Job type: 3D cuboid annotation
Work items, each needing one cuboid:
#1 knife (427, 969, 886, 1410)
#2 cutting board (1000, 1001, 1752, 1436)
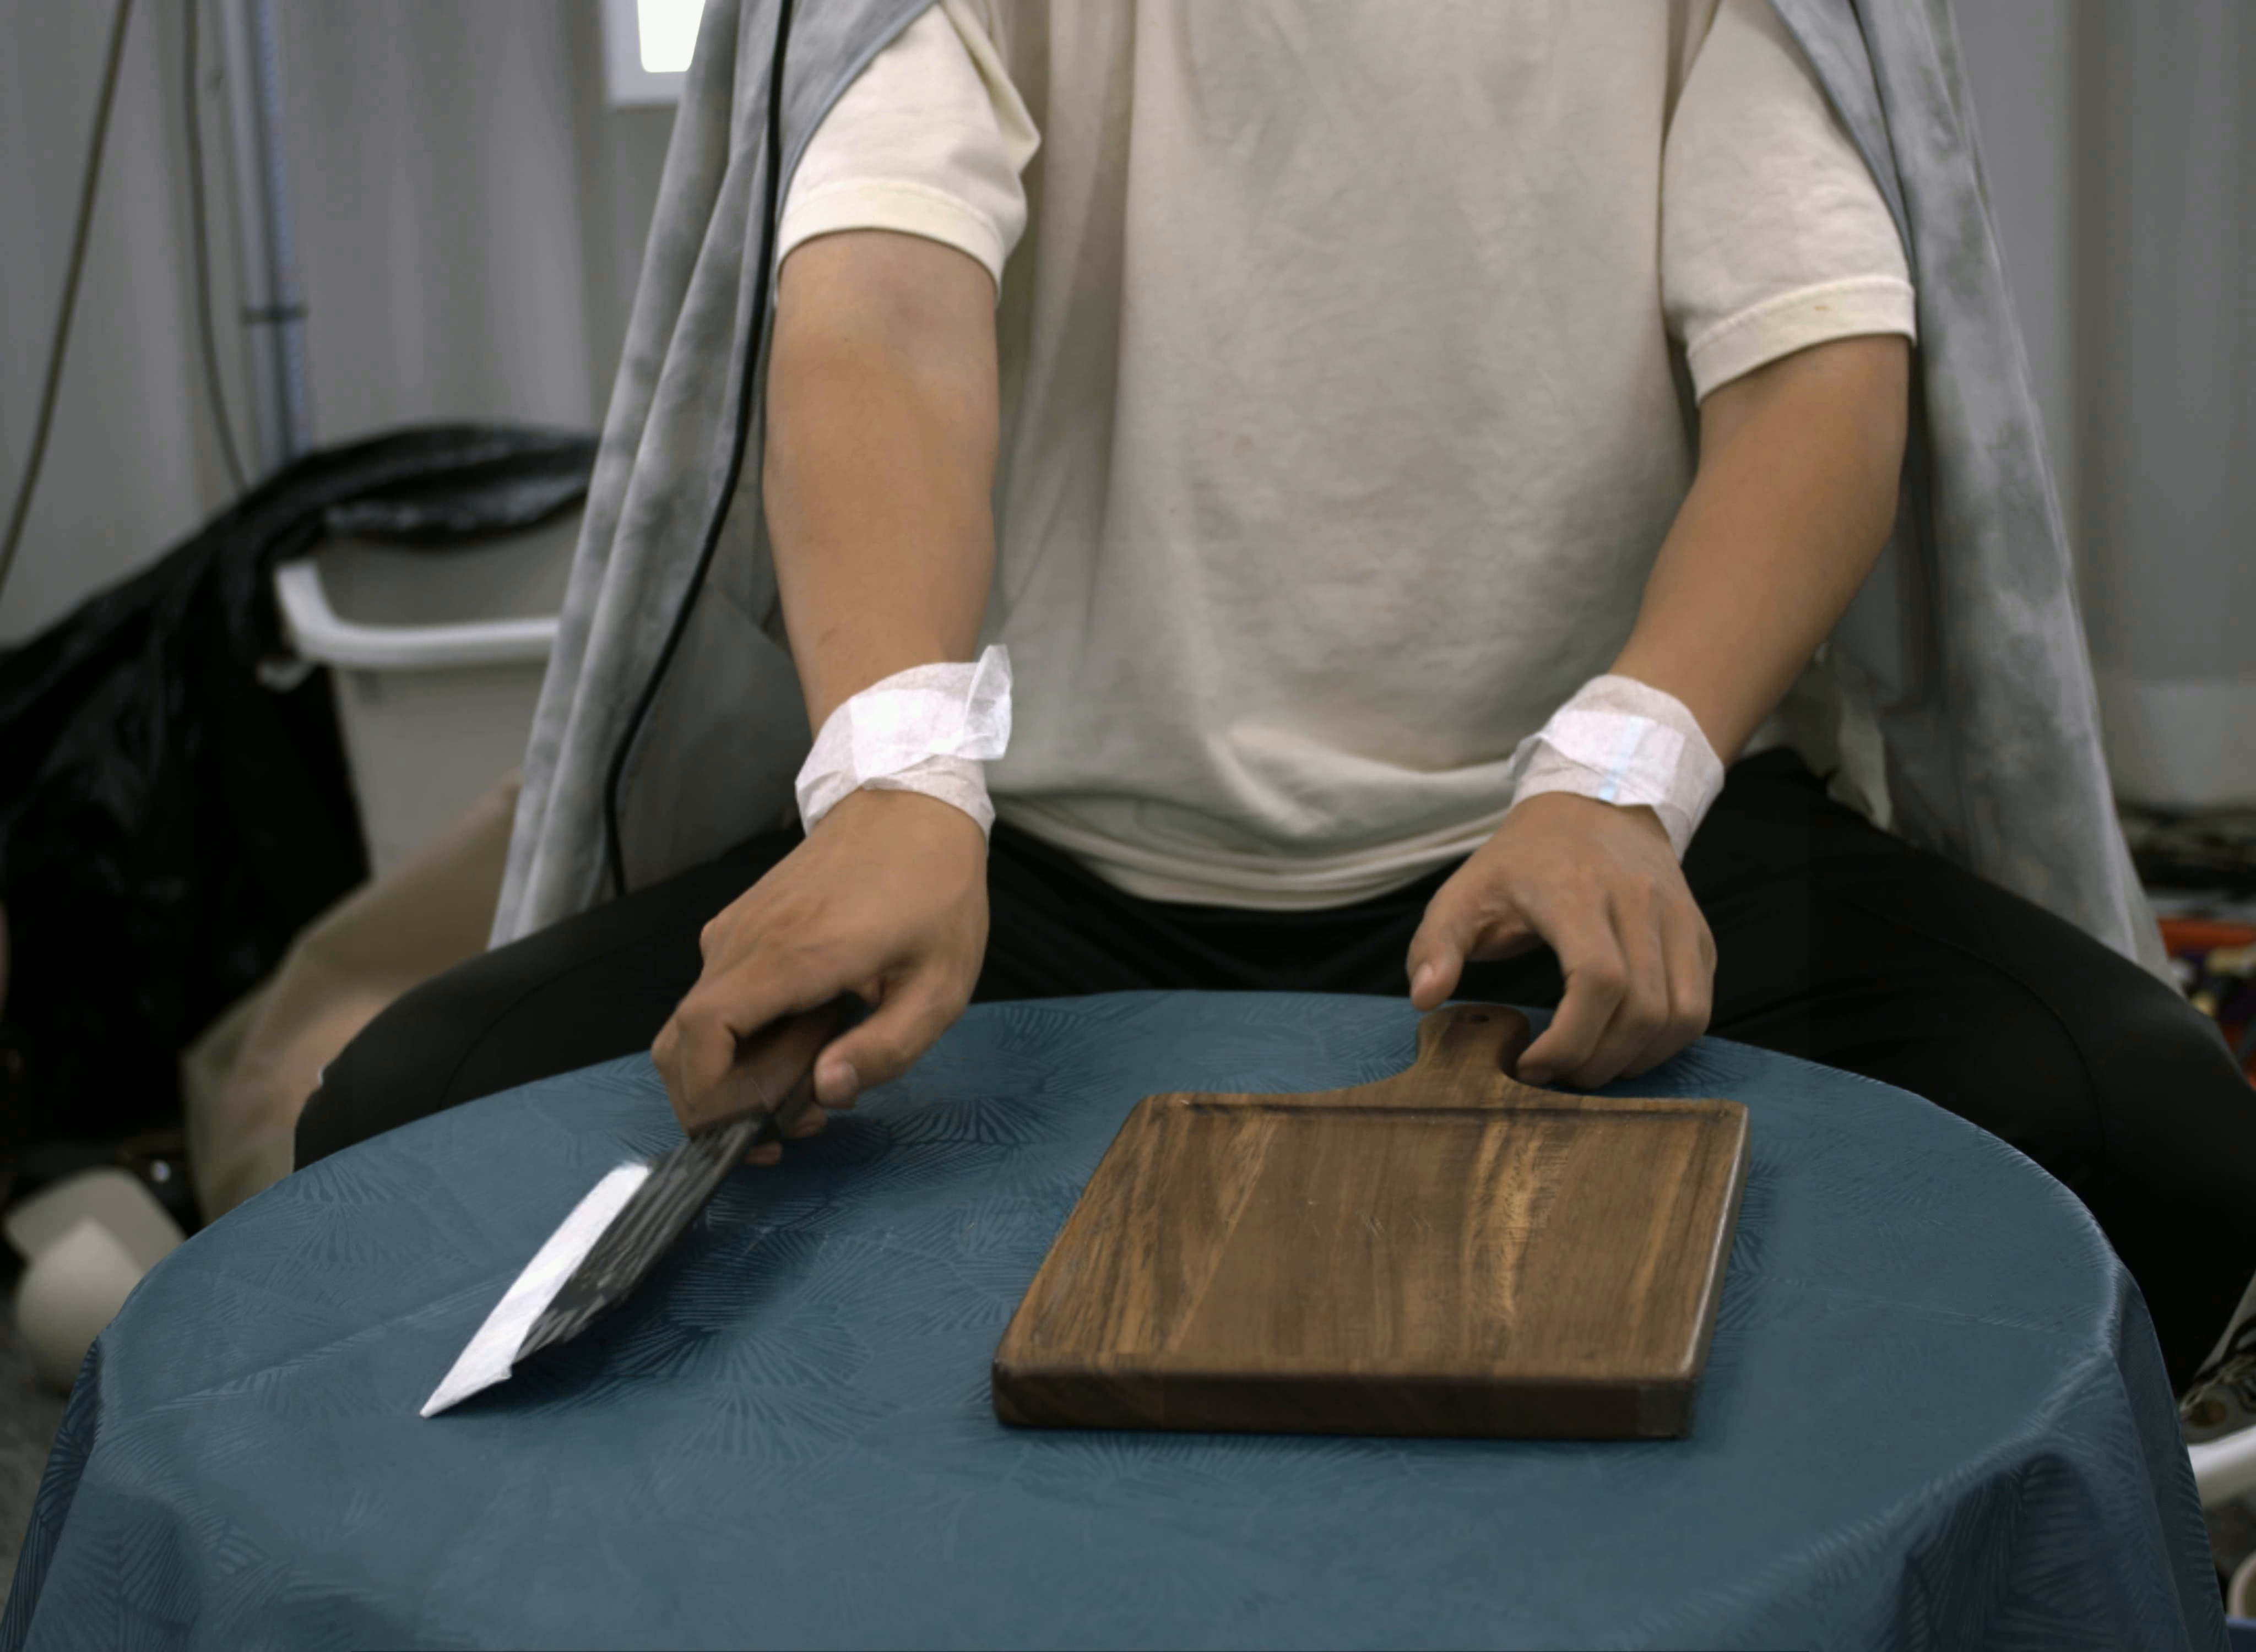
[{"bbox_3d":[-0.142,0.111,1.684,0.068,0.024,0.301,-21,12,21],"label":"knife"},{"bbox_3d":[0.088,0.113,1.668,0.201,0.023,0.354,0,15,11],"label":"cutting board"}]
